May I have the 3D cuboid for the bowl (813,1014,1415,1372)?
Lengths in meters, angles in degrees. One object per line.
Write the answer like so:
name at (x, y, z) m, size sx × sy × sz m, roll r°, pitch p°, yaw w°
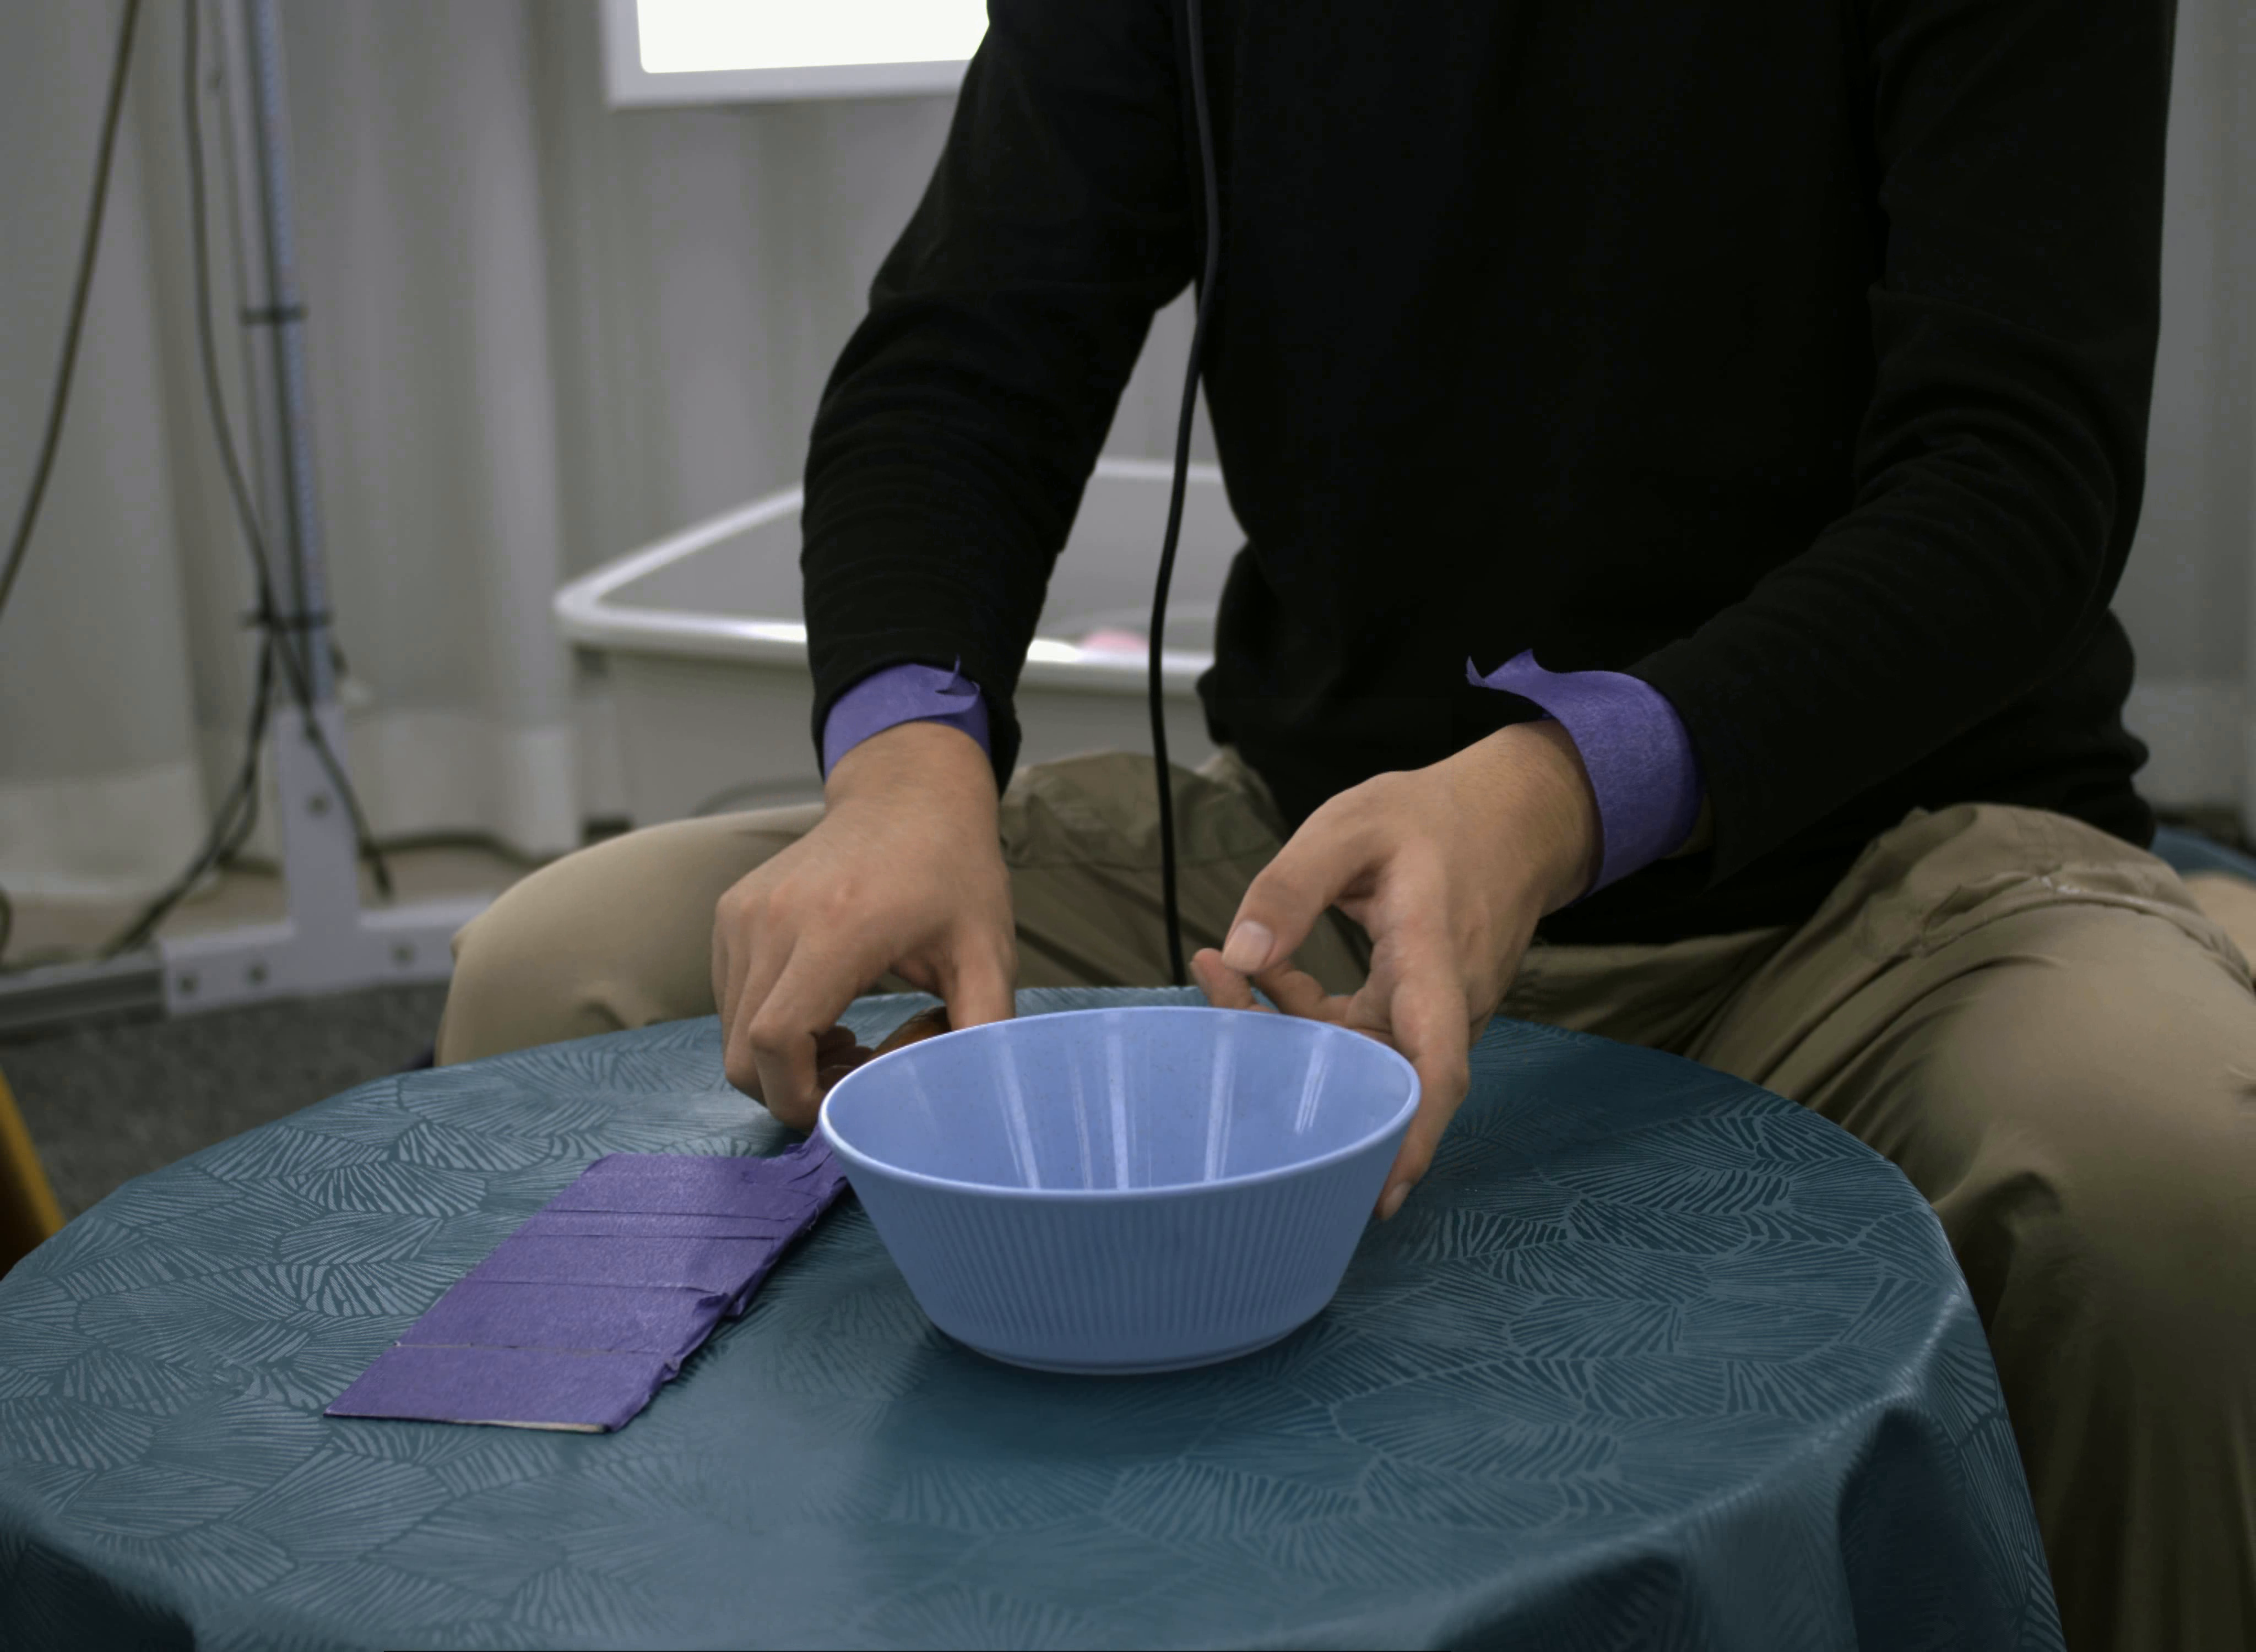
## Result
bowl at (-0.003, 0.109, 1.598) m, size 0.175 × 0.070 × 0.177 m, roll -2°, pitch 14°, yaw 0°

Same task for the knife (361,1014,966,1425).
knife at (-0.139, 0.118, 1.680) m, size 0.104 × 0.032 × 0.316 m, roll 2°, pitch 16°, yaw 17°
